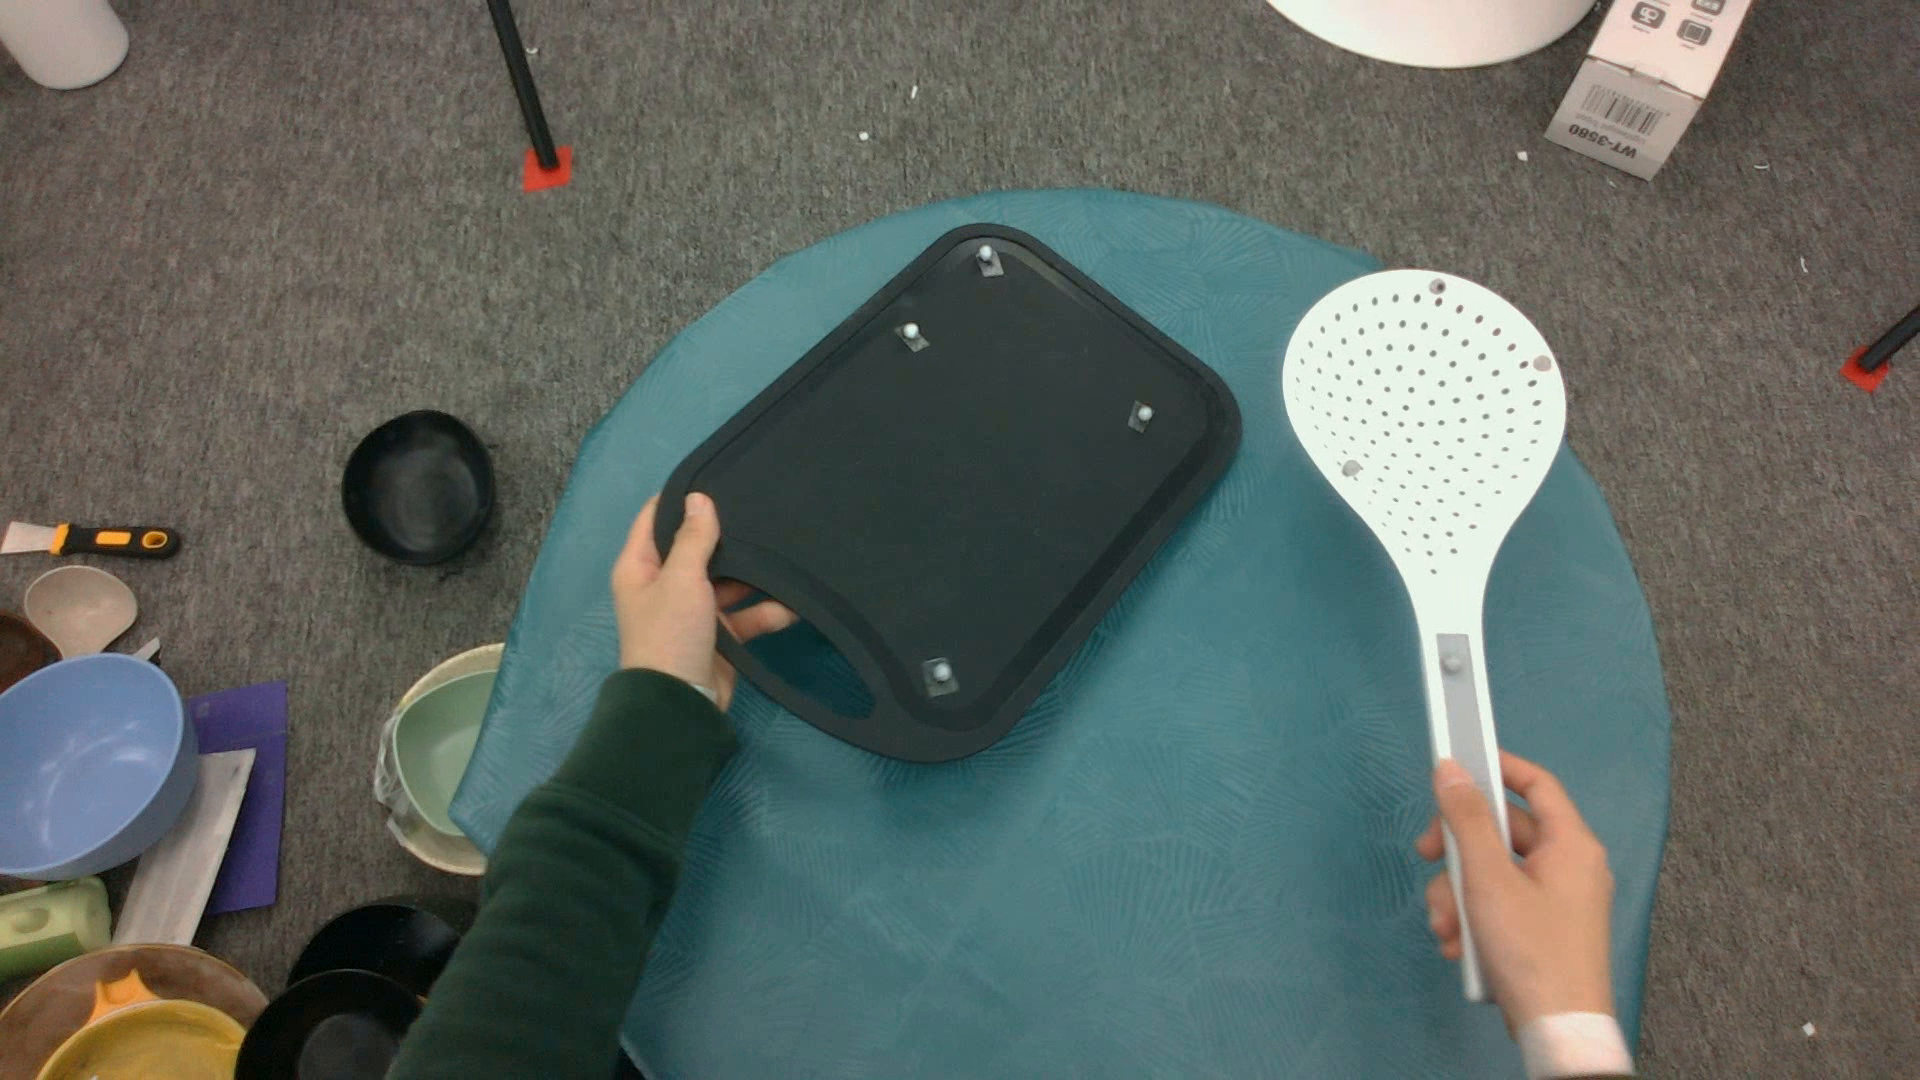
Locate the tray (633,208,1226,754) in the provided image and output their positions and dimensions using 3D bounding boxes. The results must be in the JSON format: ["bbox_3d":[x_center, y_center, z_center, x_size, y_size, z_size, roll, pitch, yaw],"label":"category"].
[{"bbox_3d":[-0.007,-0.042,0.709,0.211,0.010,0.327,40,58,6],"label":"tray"}]

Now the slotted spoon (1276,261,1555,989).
[{"bbox_3d":[0.224,0.025,0.643,0.136,0.045,0.351,0,64,1],"label":"slotted spoon"}]
